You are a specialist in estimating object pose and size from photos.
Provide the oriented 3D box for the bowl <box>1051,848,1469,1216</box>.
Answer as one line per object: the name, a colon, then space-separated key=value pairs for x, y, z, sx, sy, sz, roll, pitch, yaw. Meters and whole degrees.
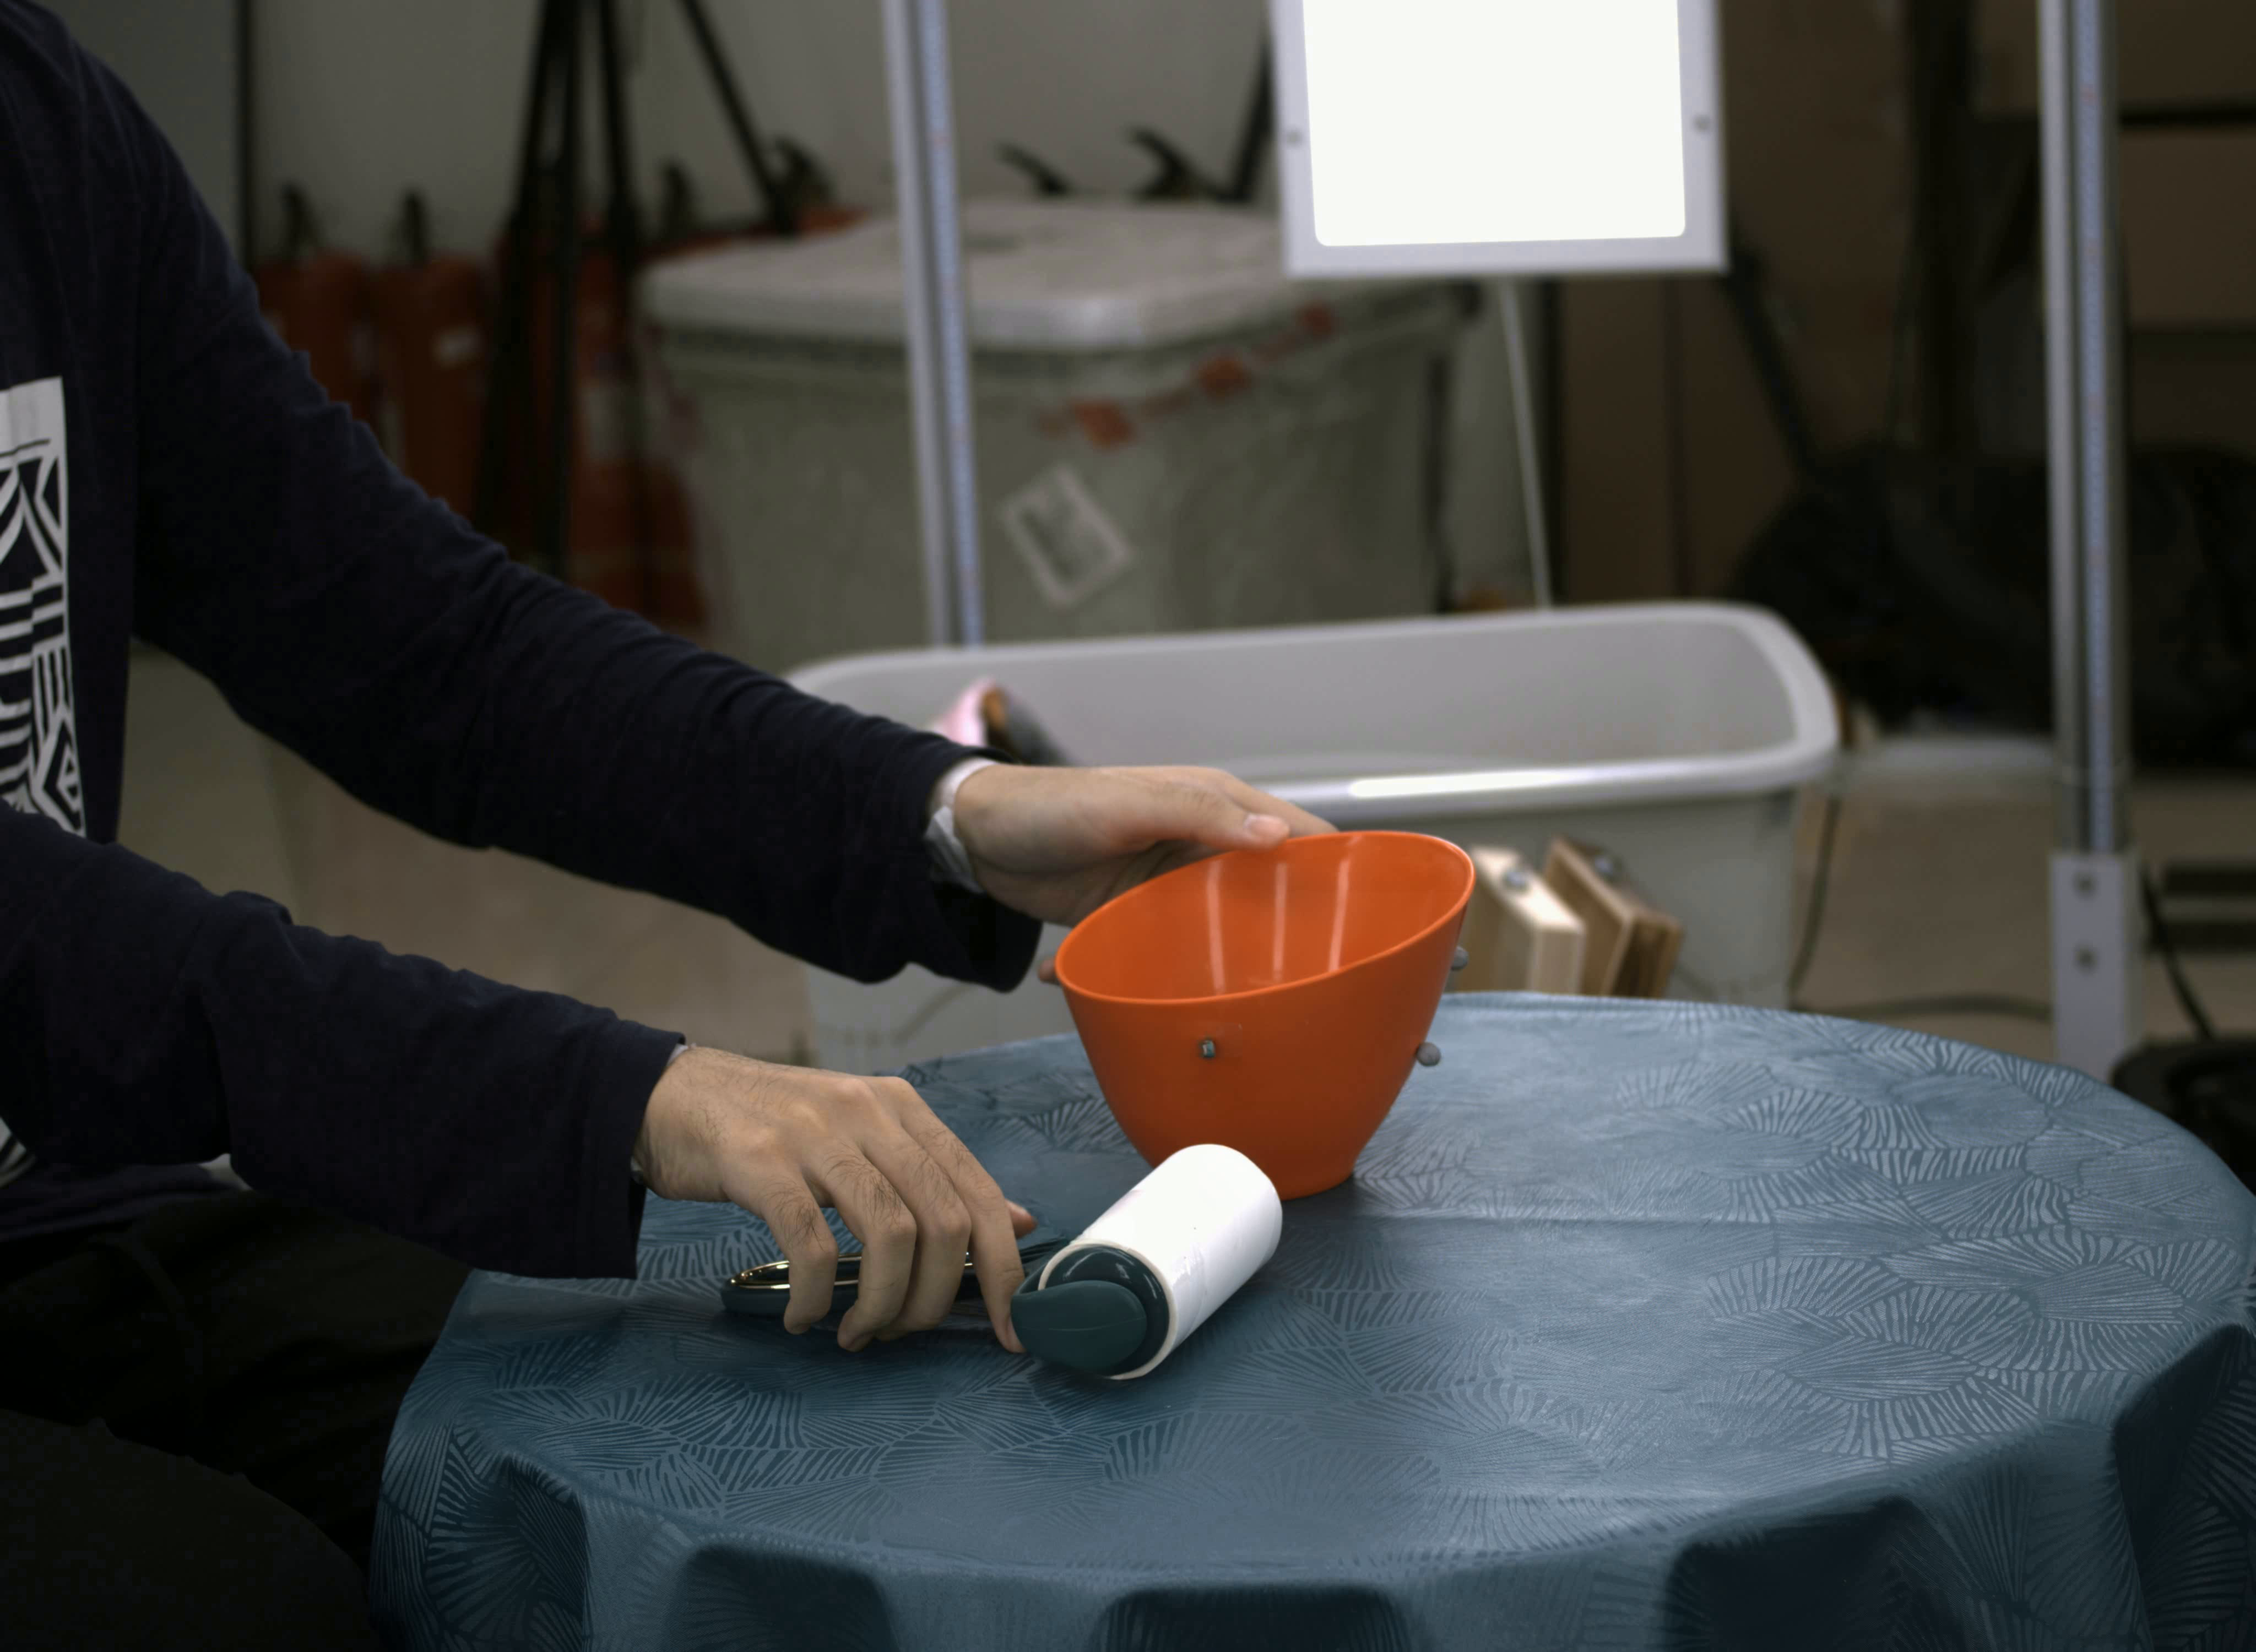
bowl: x=0.050 y=0.075 z=1.902 sx=0.147 sy=0.105 sz=0.148 roll=-7 pitch=12 yaw=0

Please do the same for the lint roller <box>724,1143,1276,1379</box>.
lint roller: x=-0.051 y=0.141 z=1.780 sx=0.183 sy=0.048 sz=0.132 roll=-3 pitch=14 yaw=24
